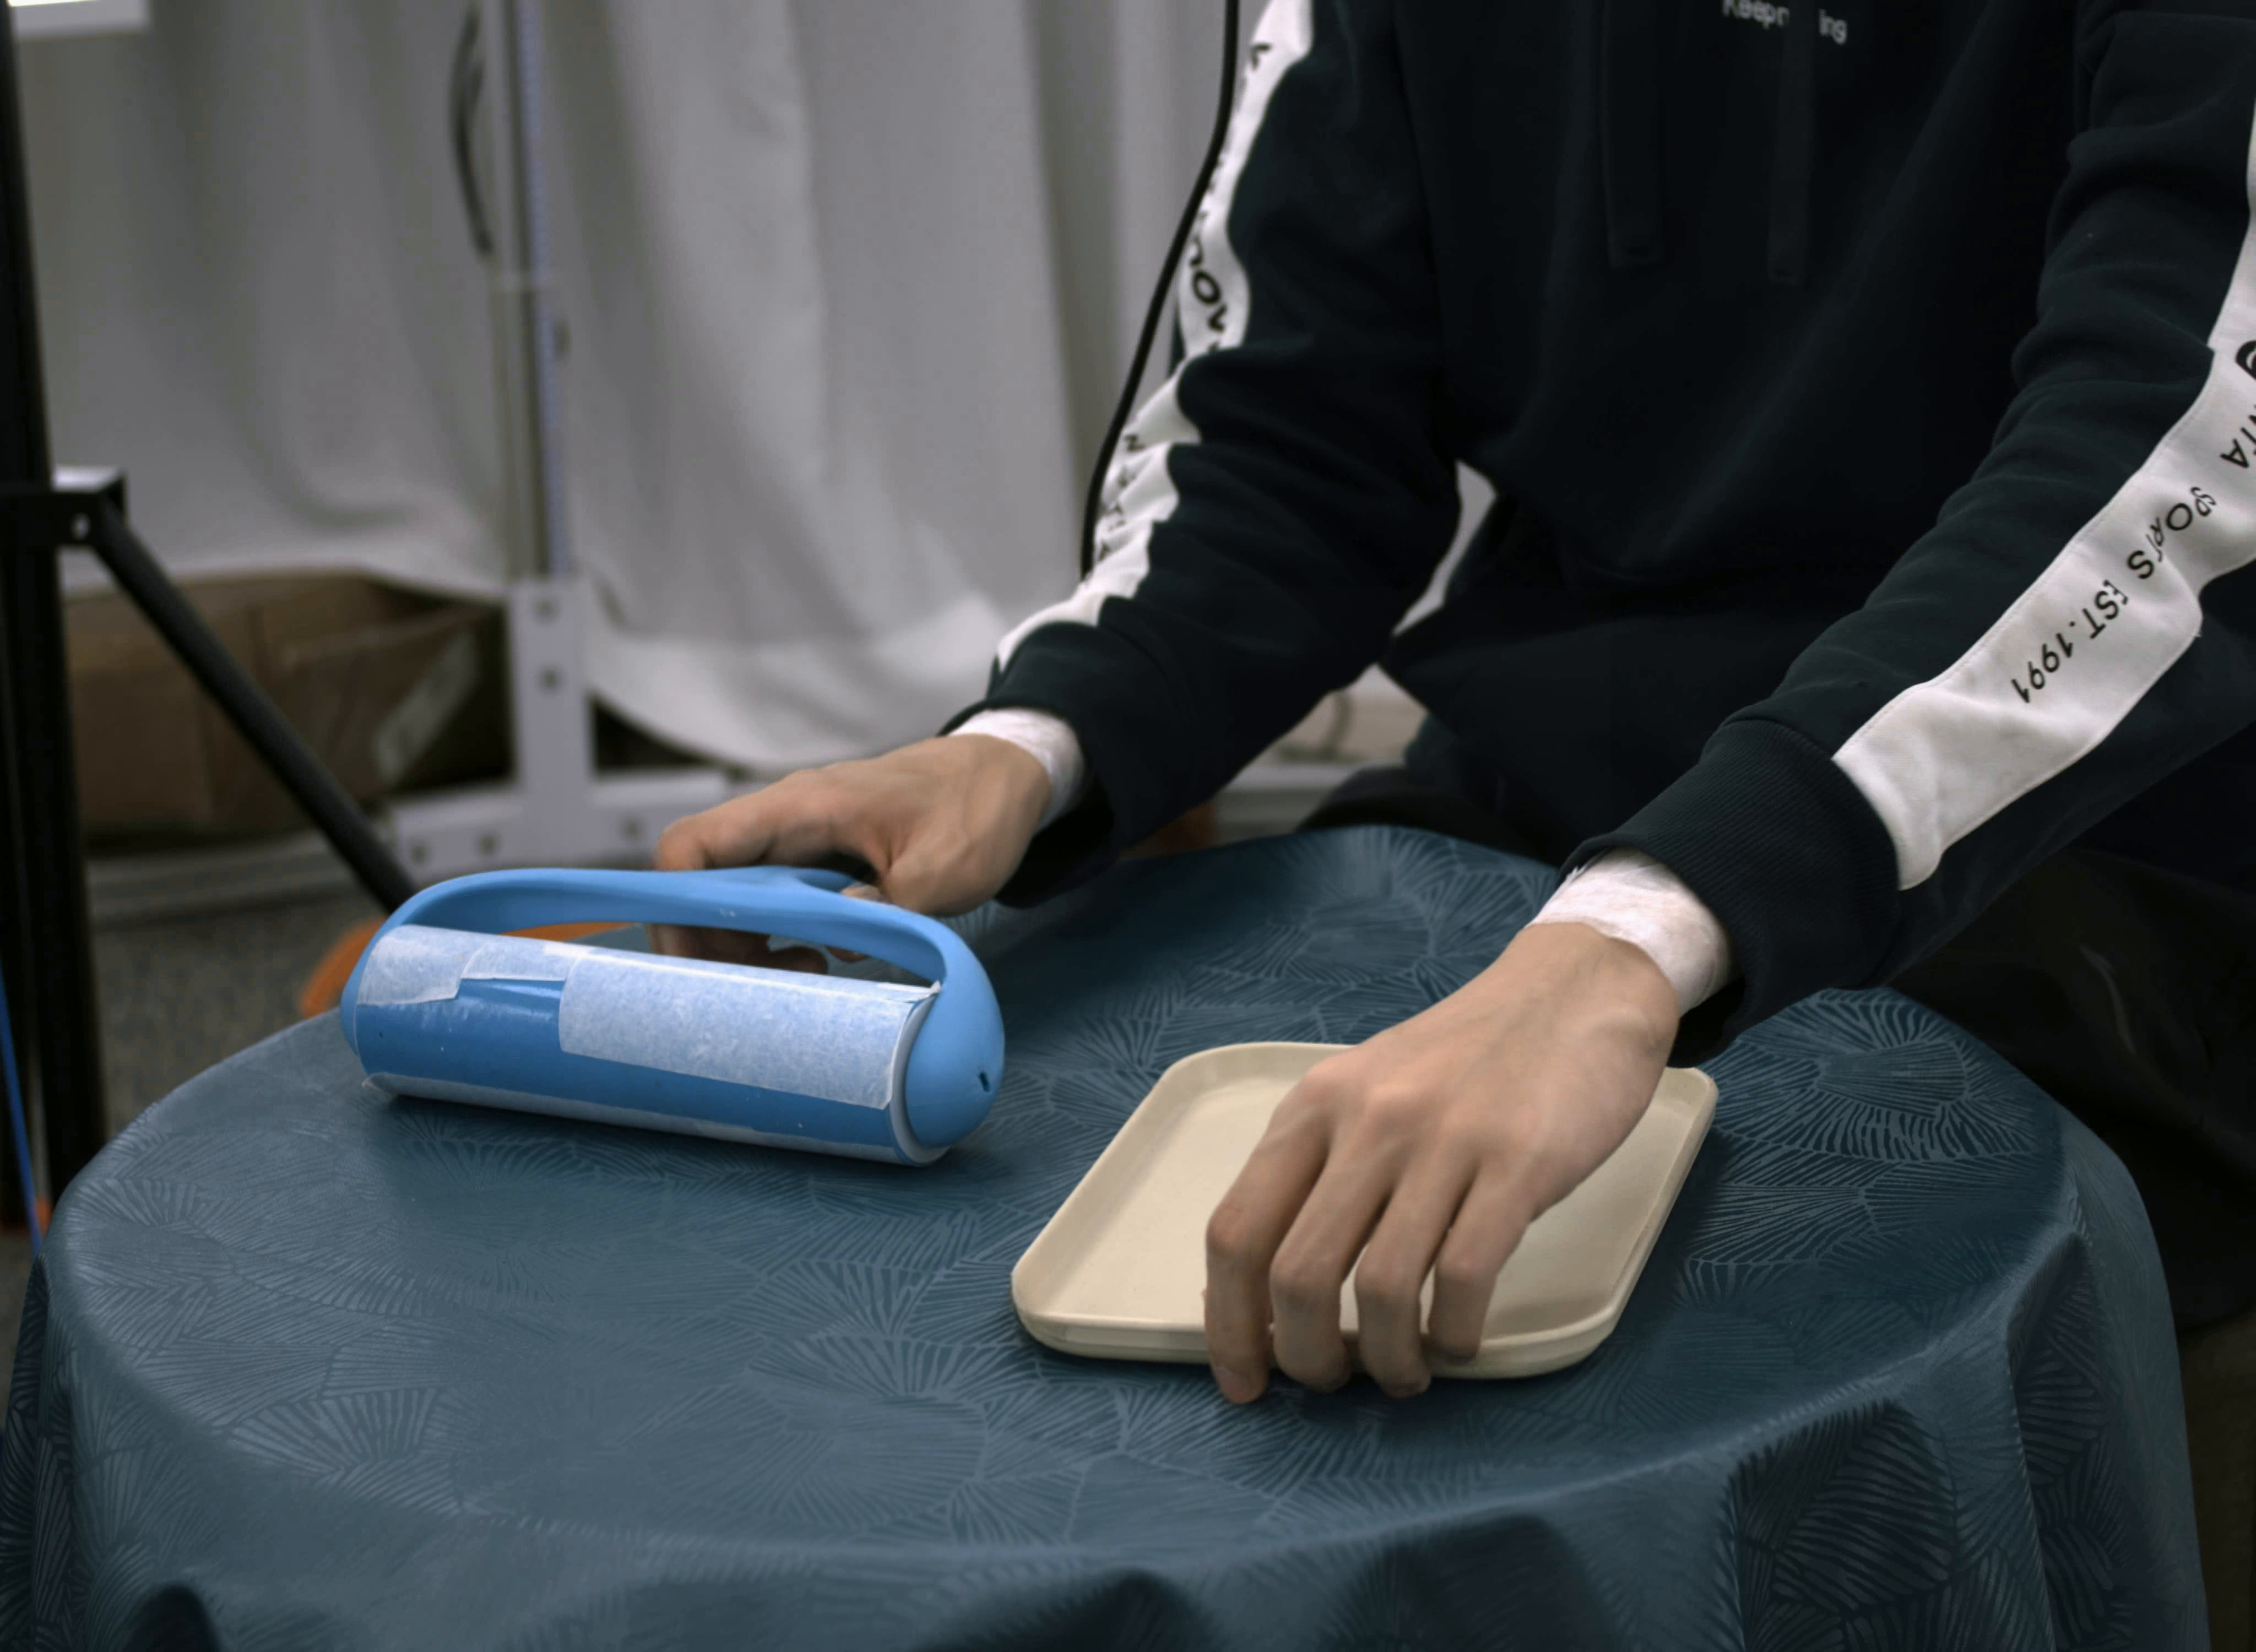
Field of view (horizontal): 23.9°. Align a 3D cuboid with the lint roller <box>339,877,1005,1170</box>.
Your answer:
[{"bbox_3d":[-0.118,0.047,1.679,0.232,0.068,0.178,3,21,26],"label":"lint roller"}]

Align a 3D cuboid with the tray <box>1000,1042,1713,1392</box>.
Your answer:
[{"bbox_3d":[0.070,0.110,1.509,0.173,0.017,0.237,3,17,16],"label":"tray"}]
